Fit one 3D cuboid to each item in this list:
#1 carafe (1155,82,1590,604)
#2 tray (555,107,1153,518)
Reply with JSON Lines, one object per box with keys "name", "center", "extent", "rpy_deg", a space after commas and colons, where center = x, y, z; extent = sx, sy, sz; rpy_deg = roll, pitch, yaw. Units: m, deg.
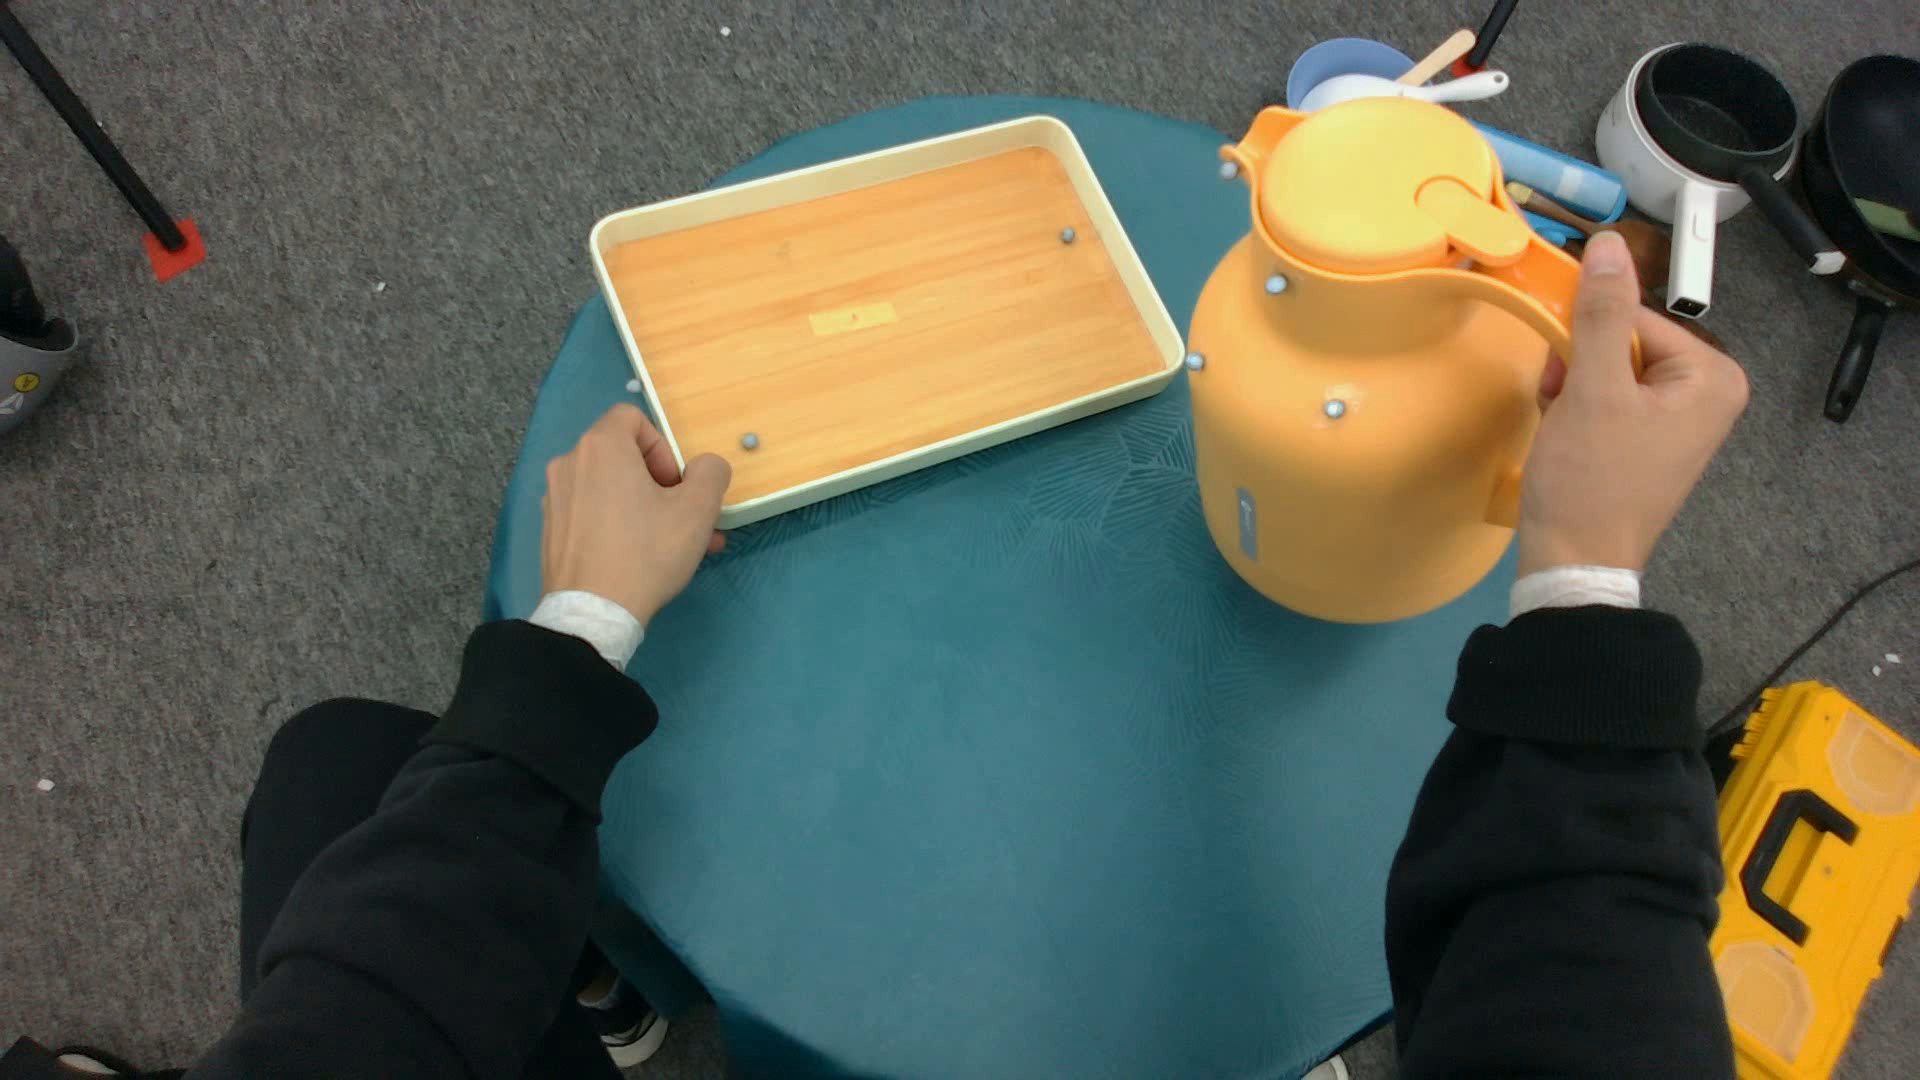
{"name": "carafe", "center": [0.186, -0.078, 0.642], "extent": [0.164, 0.259, 0.202], "rpy_deg": [-43, 58, -11]}
{"name": "tray", "center": [-0.056, -0.138, 0.782], "extent": [0.301, 0.027, 0.192], "rpy_deg": [-19, 72, -20]}
